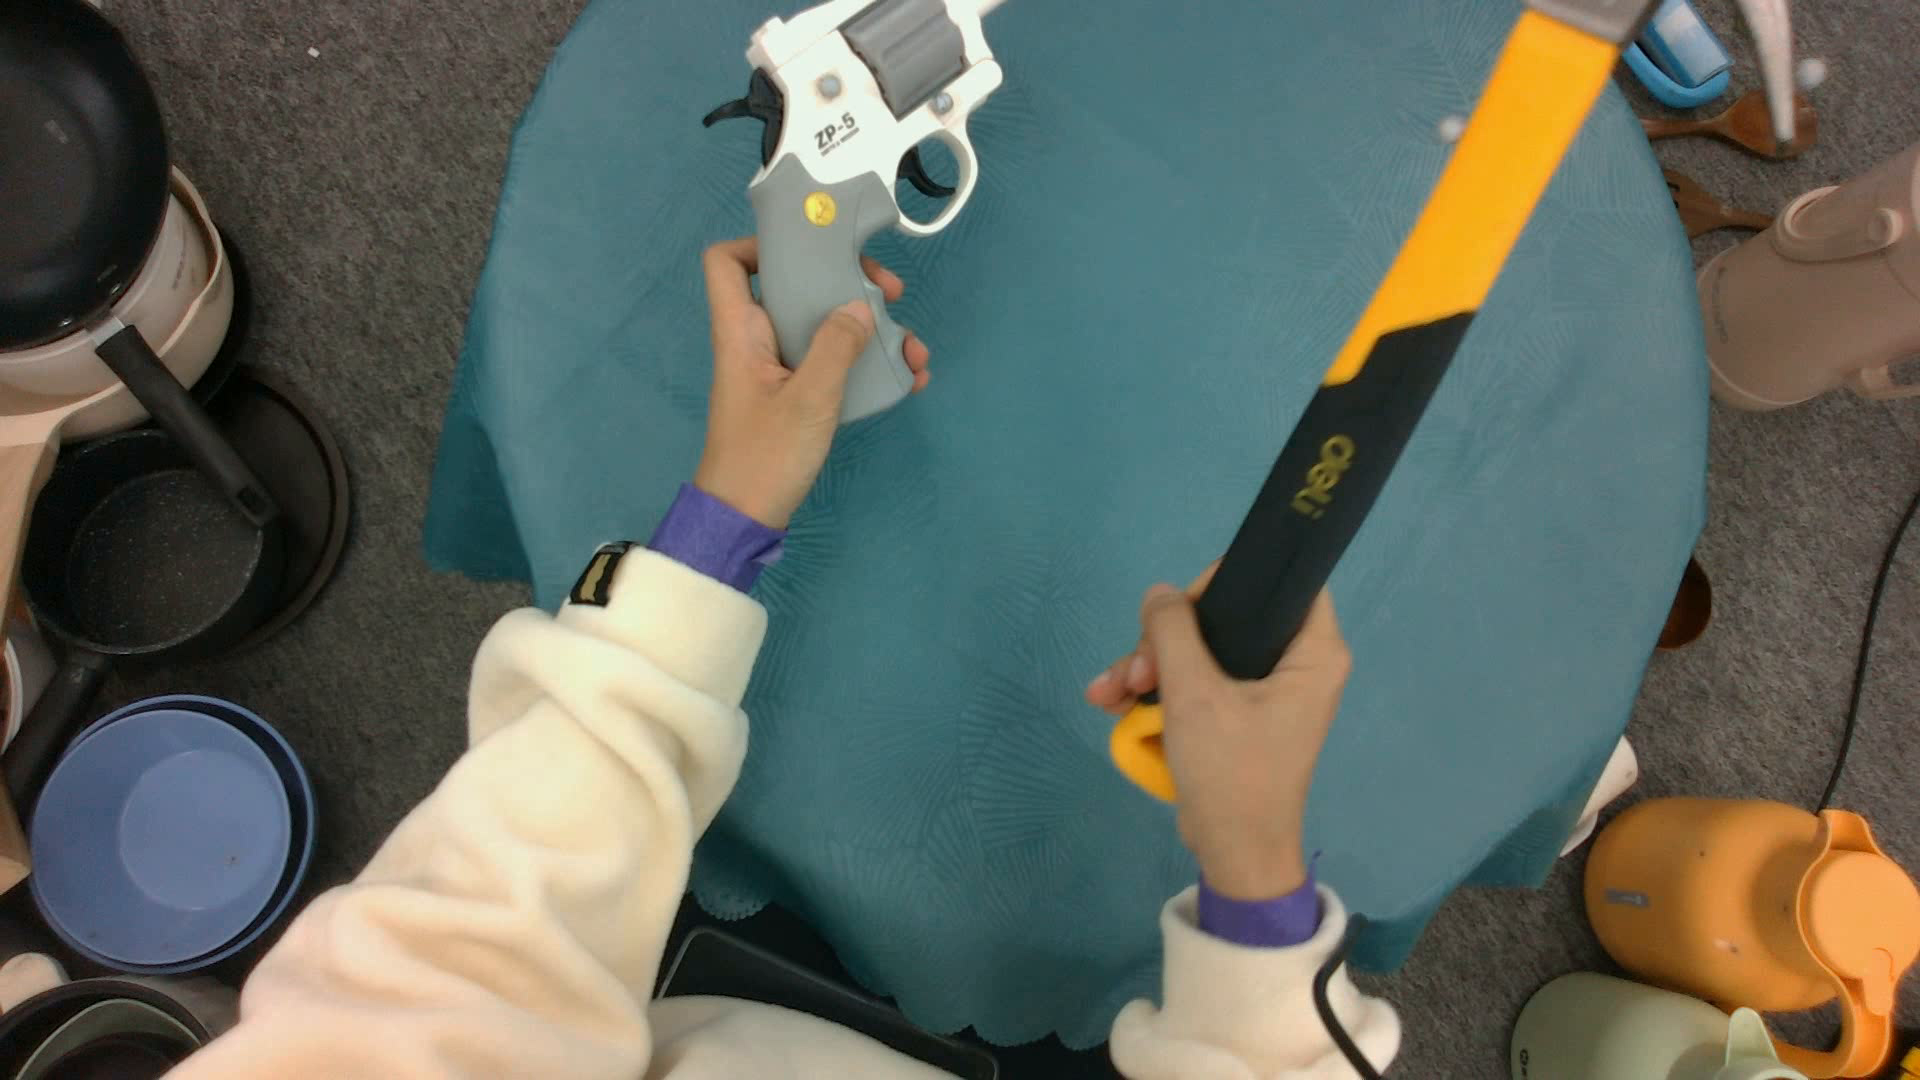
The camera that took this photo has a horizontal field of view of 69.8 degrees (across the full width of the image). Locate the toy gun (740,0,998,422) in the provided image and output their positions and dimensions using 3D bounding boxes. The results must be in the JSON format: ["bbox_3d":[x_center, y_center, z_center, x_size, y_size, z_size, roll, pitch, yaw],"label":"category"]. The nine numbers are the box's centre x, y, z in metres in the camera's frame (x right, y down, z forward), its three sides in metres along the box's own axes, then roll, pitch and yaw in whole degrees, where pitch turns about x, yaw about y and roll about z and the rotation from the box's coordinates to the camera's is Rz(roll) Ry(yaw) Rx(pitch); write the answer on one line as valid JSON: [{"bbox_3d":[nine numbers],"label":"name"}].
[{"bbox_3d":[-0.021,-0.159,0.561,0.210,0.039,0.141,-42,108,-20],"label":"toy gun"}]

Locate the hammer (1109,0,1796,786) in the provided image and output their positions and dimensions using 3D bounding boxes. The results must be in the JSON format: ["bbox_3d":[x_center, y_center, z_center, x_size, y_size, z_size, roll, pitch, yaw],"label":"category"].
[{"bbox_3d":[0.141,-0.061,0.456,0.131,0.032,0.337,32,107,16],"label":"hammer"}]
